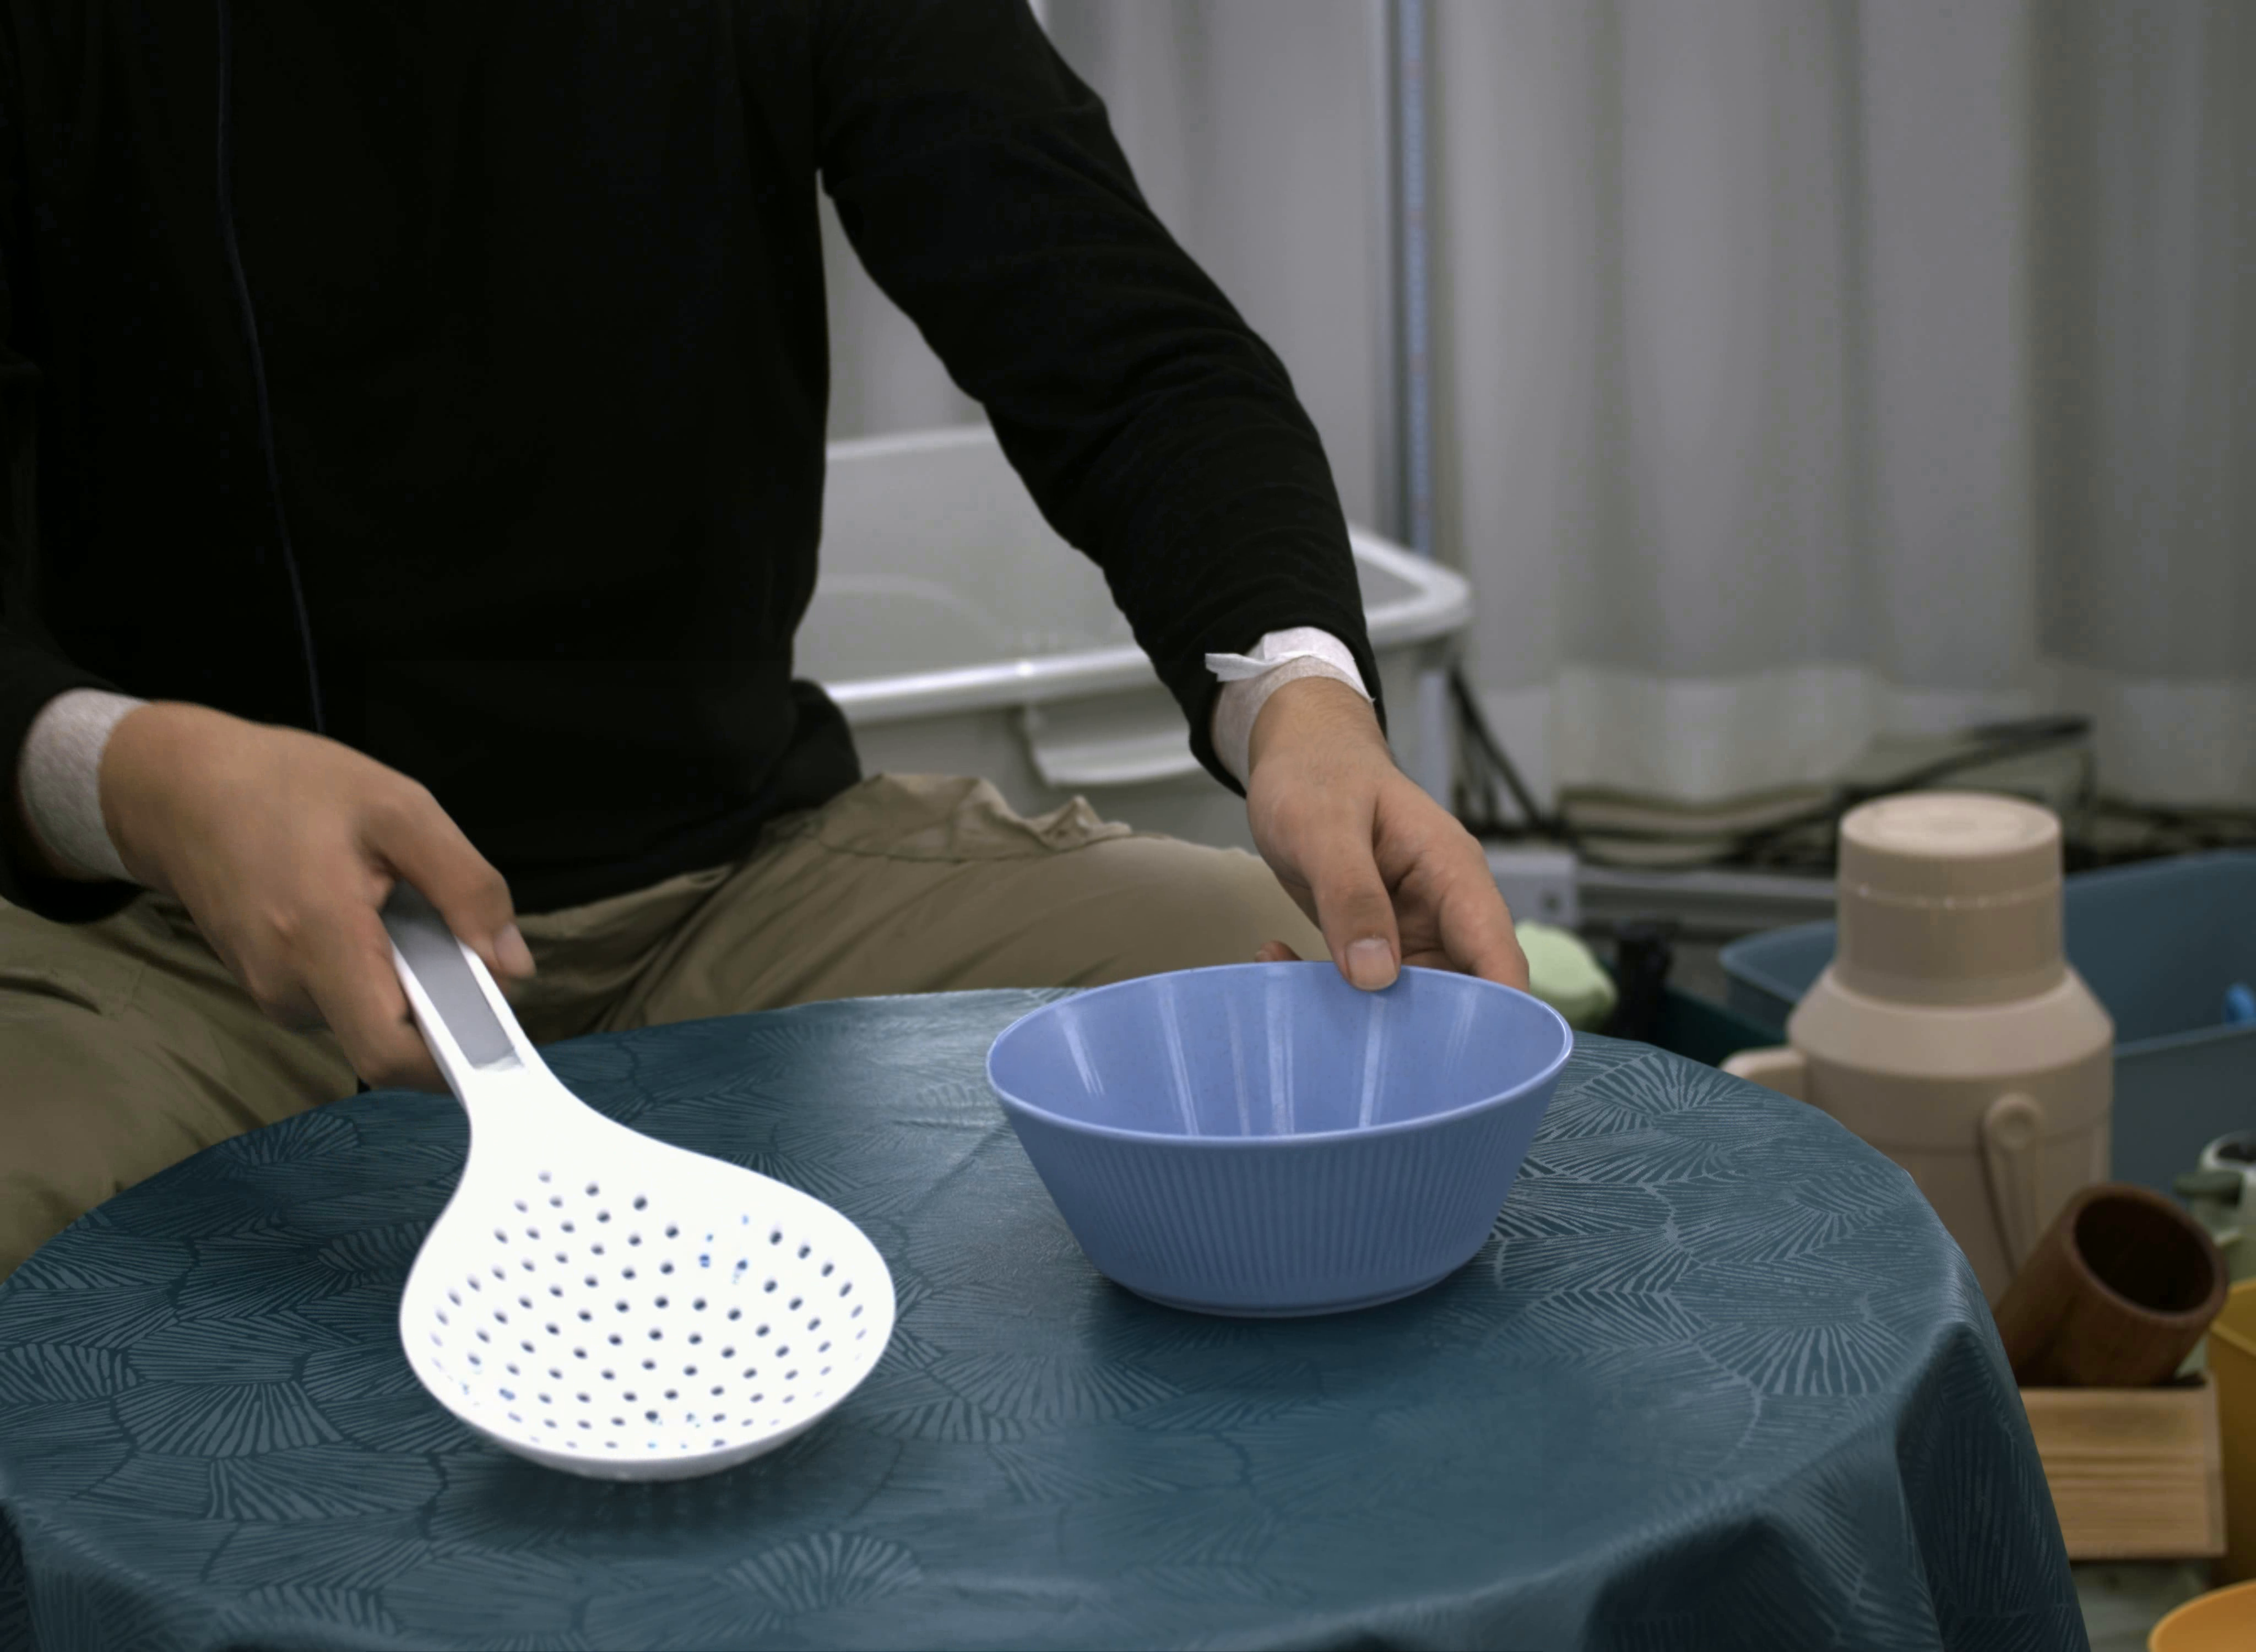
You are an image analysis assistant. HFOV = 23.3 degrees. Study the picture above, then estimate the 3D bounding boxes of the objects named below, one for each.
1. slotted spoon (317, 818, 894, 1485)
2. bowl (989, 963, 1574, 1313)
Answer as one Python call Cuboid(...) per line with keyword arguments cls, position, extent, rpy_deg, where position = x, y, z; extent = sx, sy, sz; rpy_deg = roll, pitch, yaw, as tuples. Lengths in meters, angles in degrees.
Cuboid(cls="slotted spoon", position=(-0.176, 0.088, 1.595), extent=(0.135, 0.045, 0.355), rpy_deg=(-14, 38, -19))
Cuboid(cls="bowl", position=(0.047, 0.096, 1.639), extent=(0.175, 0.070, 0.177), rpy_deg=(-2, 14, 0))
